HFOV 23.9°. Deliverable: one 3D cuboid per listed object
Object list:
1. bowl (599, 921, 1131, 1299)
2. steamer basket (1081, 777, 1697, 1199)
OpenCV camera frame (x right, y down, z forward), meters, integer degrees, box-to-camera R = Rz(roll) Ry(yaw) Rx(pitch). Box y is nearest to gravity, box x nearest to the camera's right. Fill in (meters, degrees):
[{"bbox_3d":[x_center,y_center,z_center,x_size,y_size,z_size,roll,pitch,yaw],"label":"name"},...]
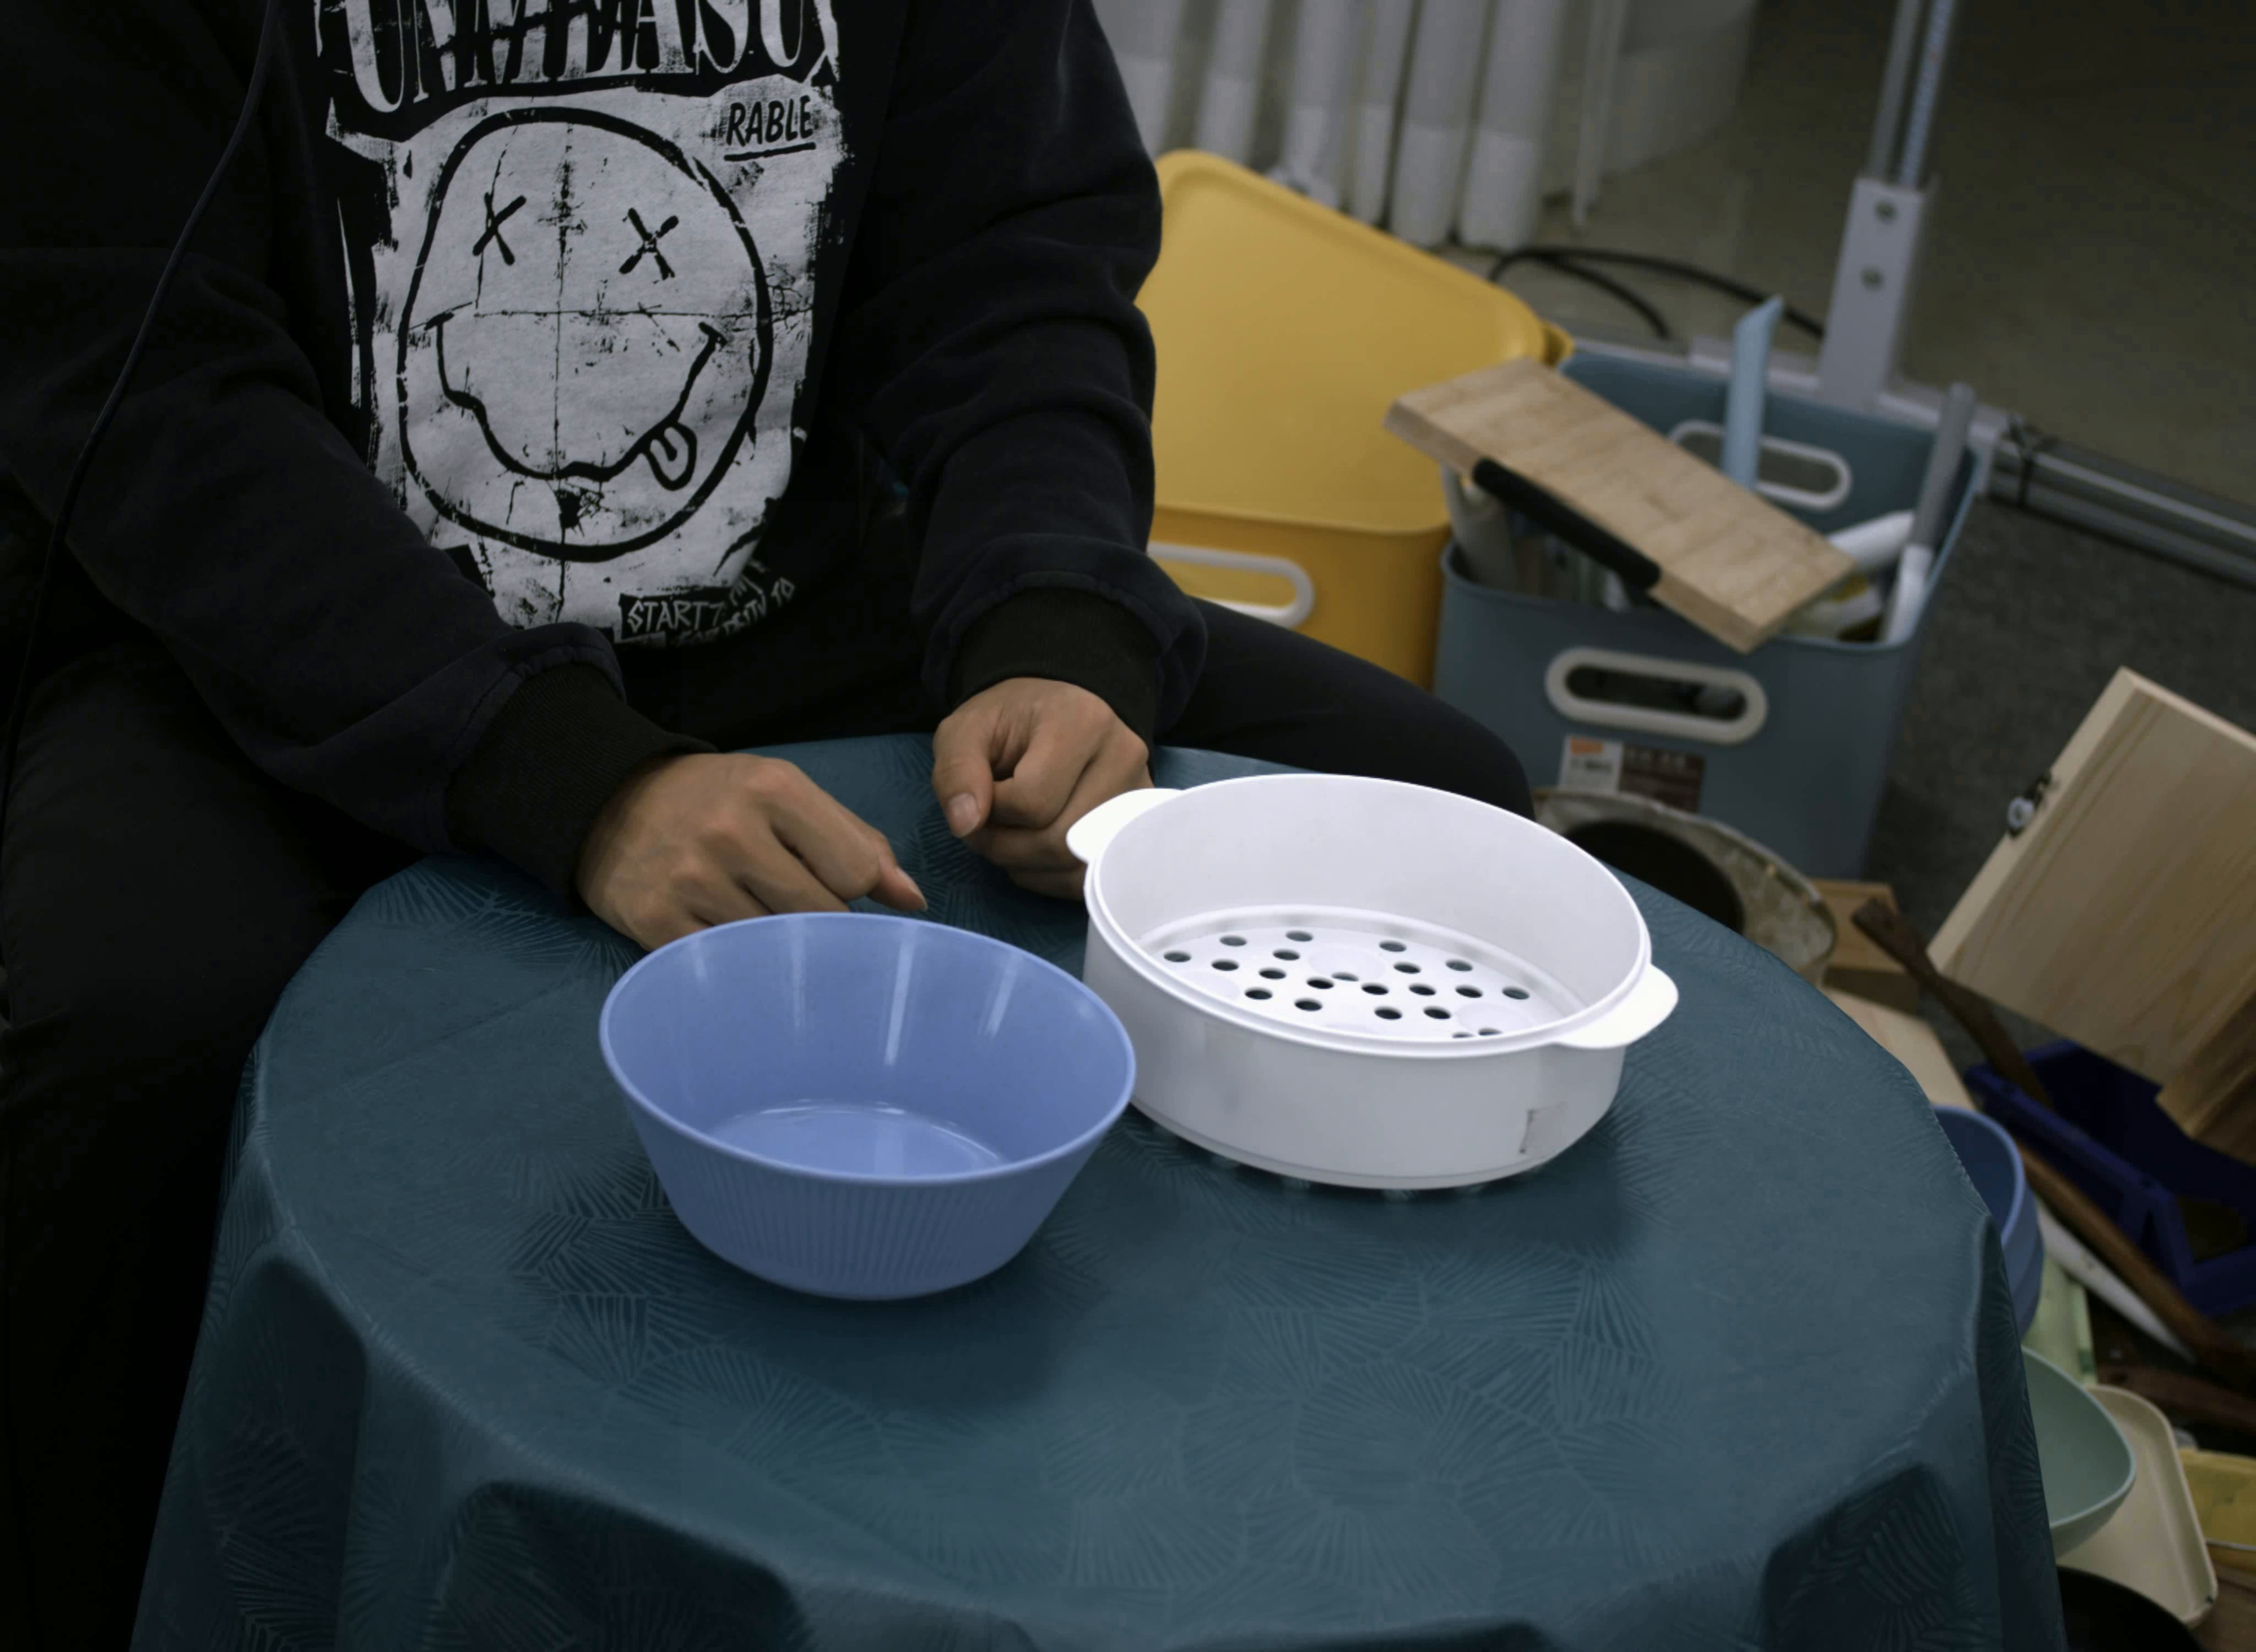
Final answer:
[{"bbox_3d":[-0.089,0.099,1.751,0.175,0.070,0.177,6,26,-3],"label":"bowl"},{"bbox_3d":[0.086,0.057,1.876,0.232,0.069,0.201,22,30,24],"label":"steamer basket"}]
